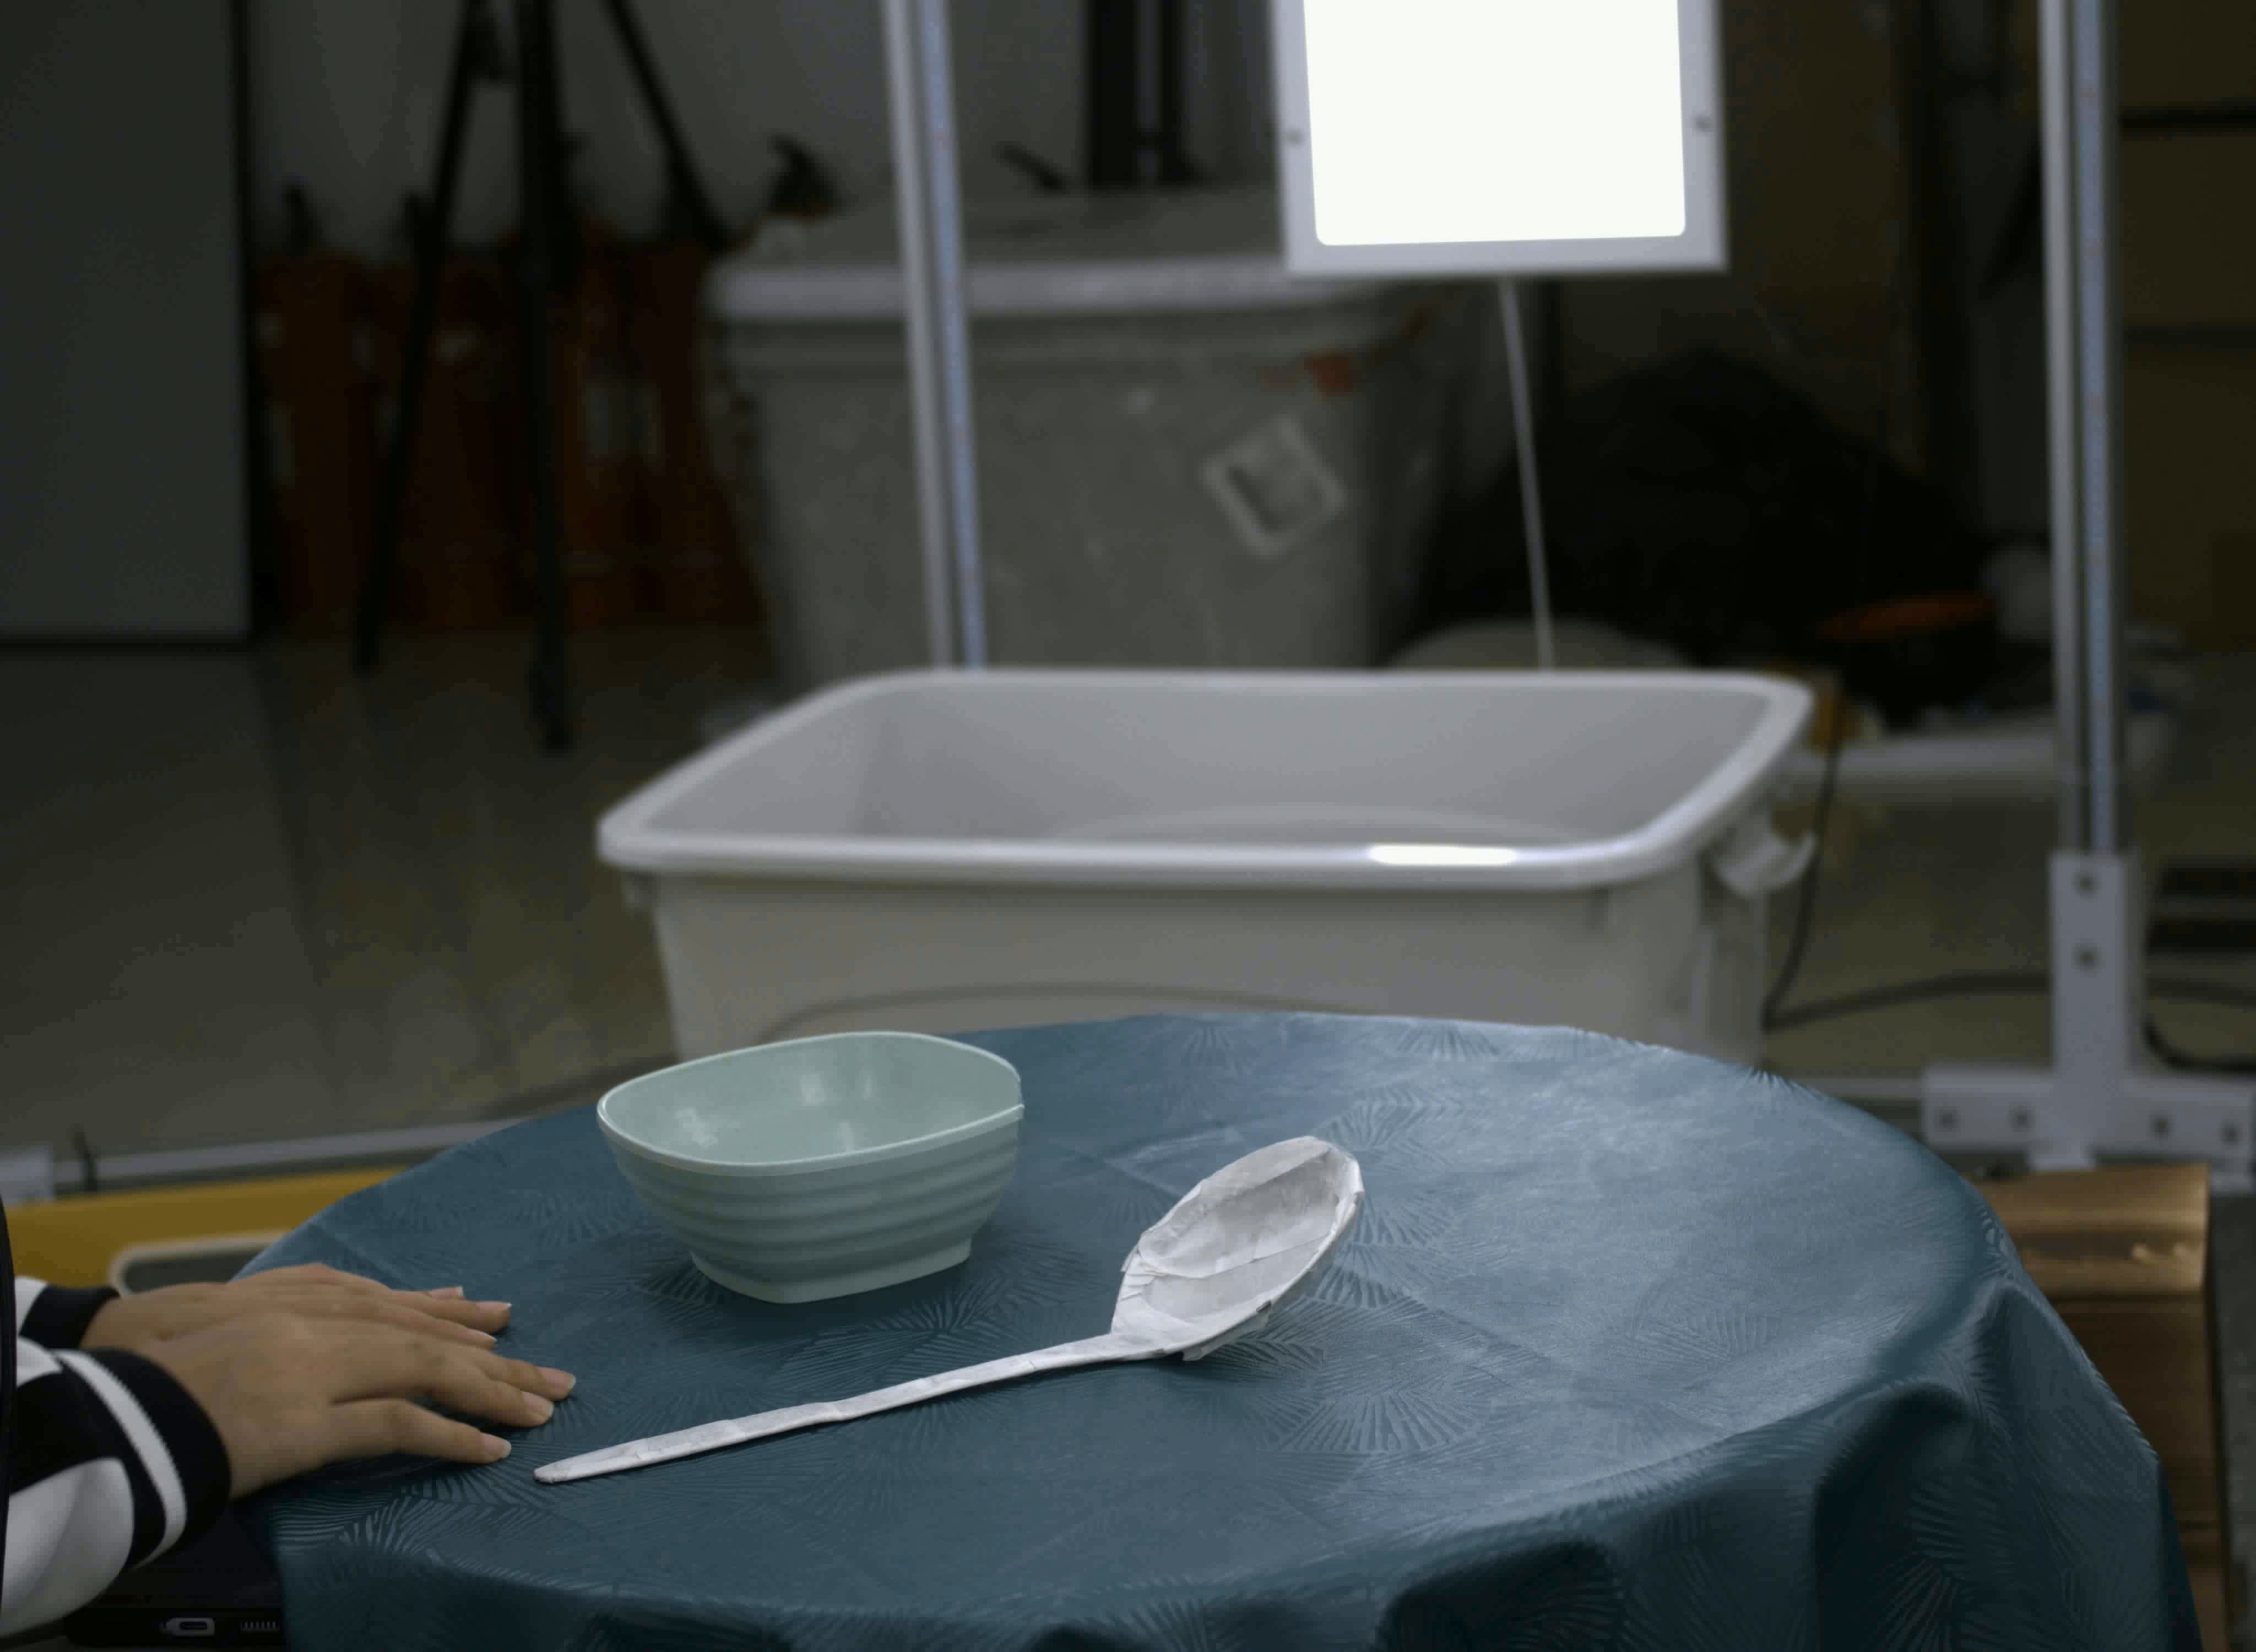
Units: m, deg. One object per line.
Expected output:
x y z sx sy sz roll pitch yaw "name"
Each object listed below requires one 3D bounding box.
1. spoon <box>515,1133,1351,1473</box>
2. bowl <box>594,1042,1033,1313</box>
-0.061 0.147 1.718 0.273 0.059 0.102 -9 9 -16 "spoon"
-0.104 0.121 1.851 0.151 0.059 0.151 -5 13 0 "bowl"
